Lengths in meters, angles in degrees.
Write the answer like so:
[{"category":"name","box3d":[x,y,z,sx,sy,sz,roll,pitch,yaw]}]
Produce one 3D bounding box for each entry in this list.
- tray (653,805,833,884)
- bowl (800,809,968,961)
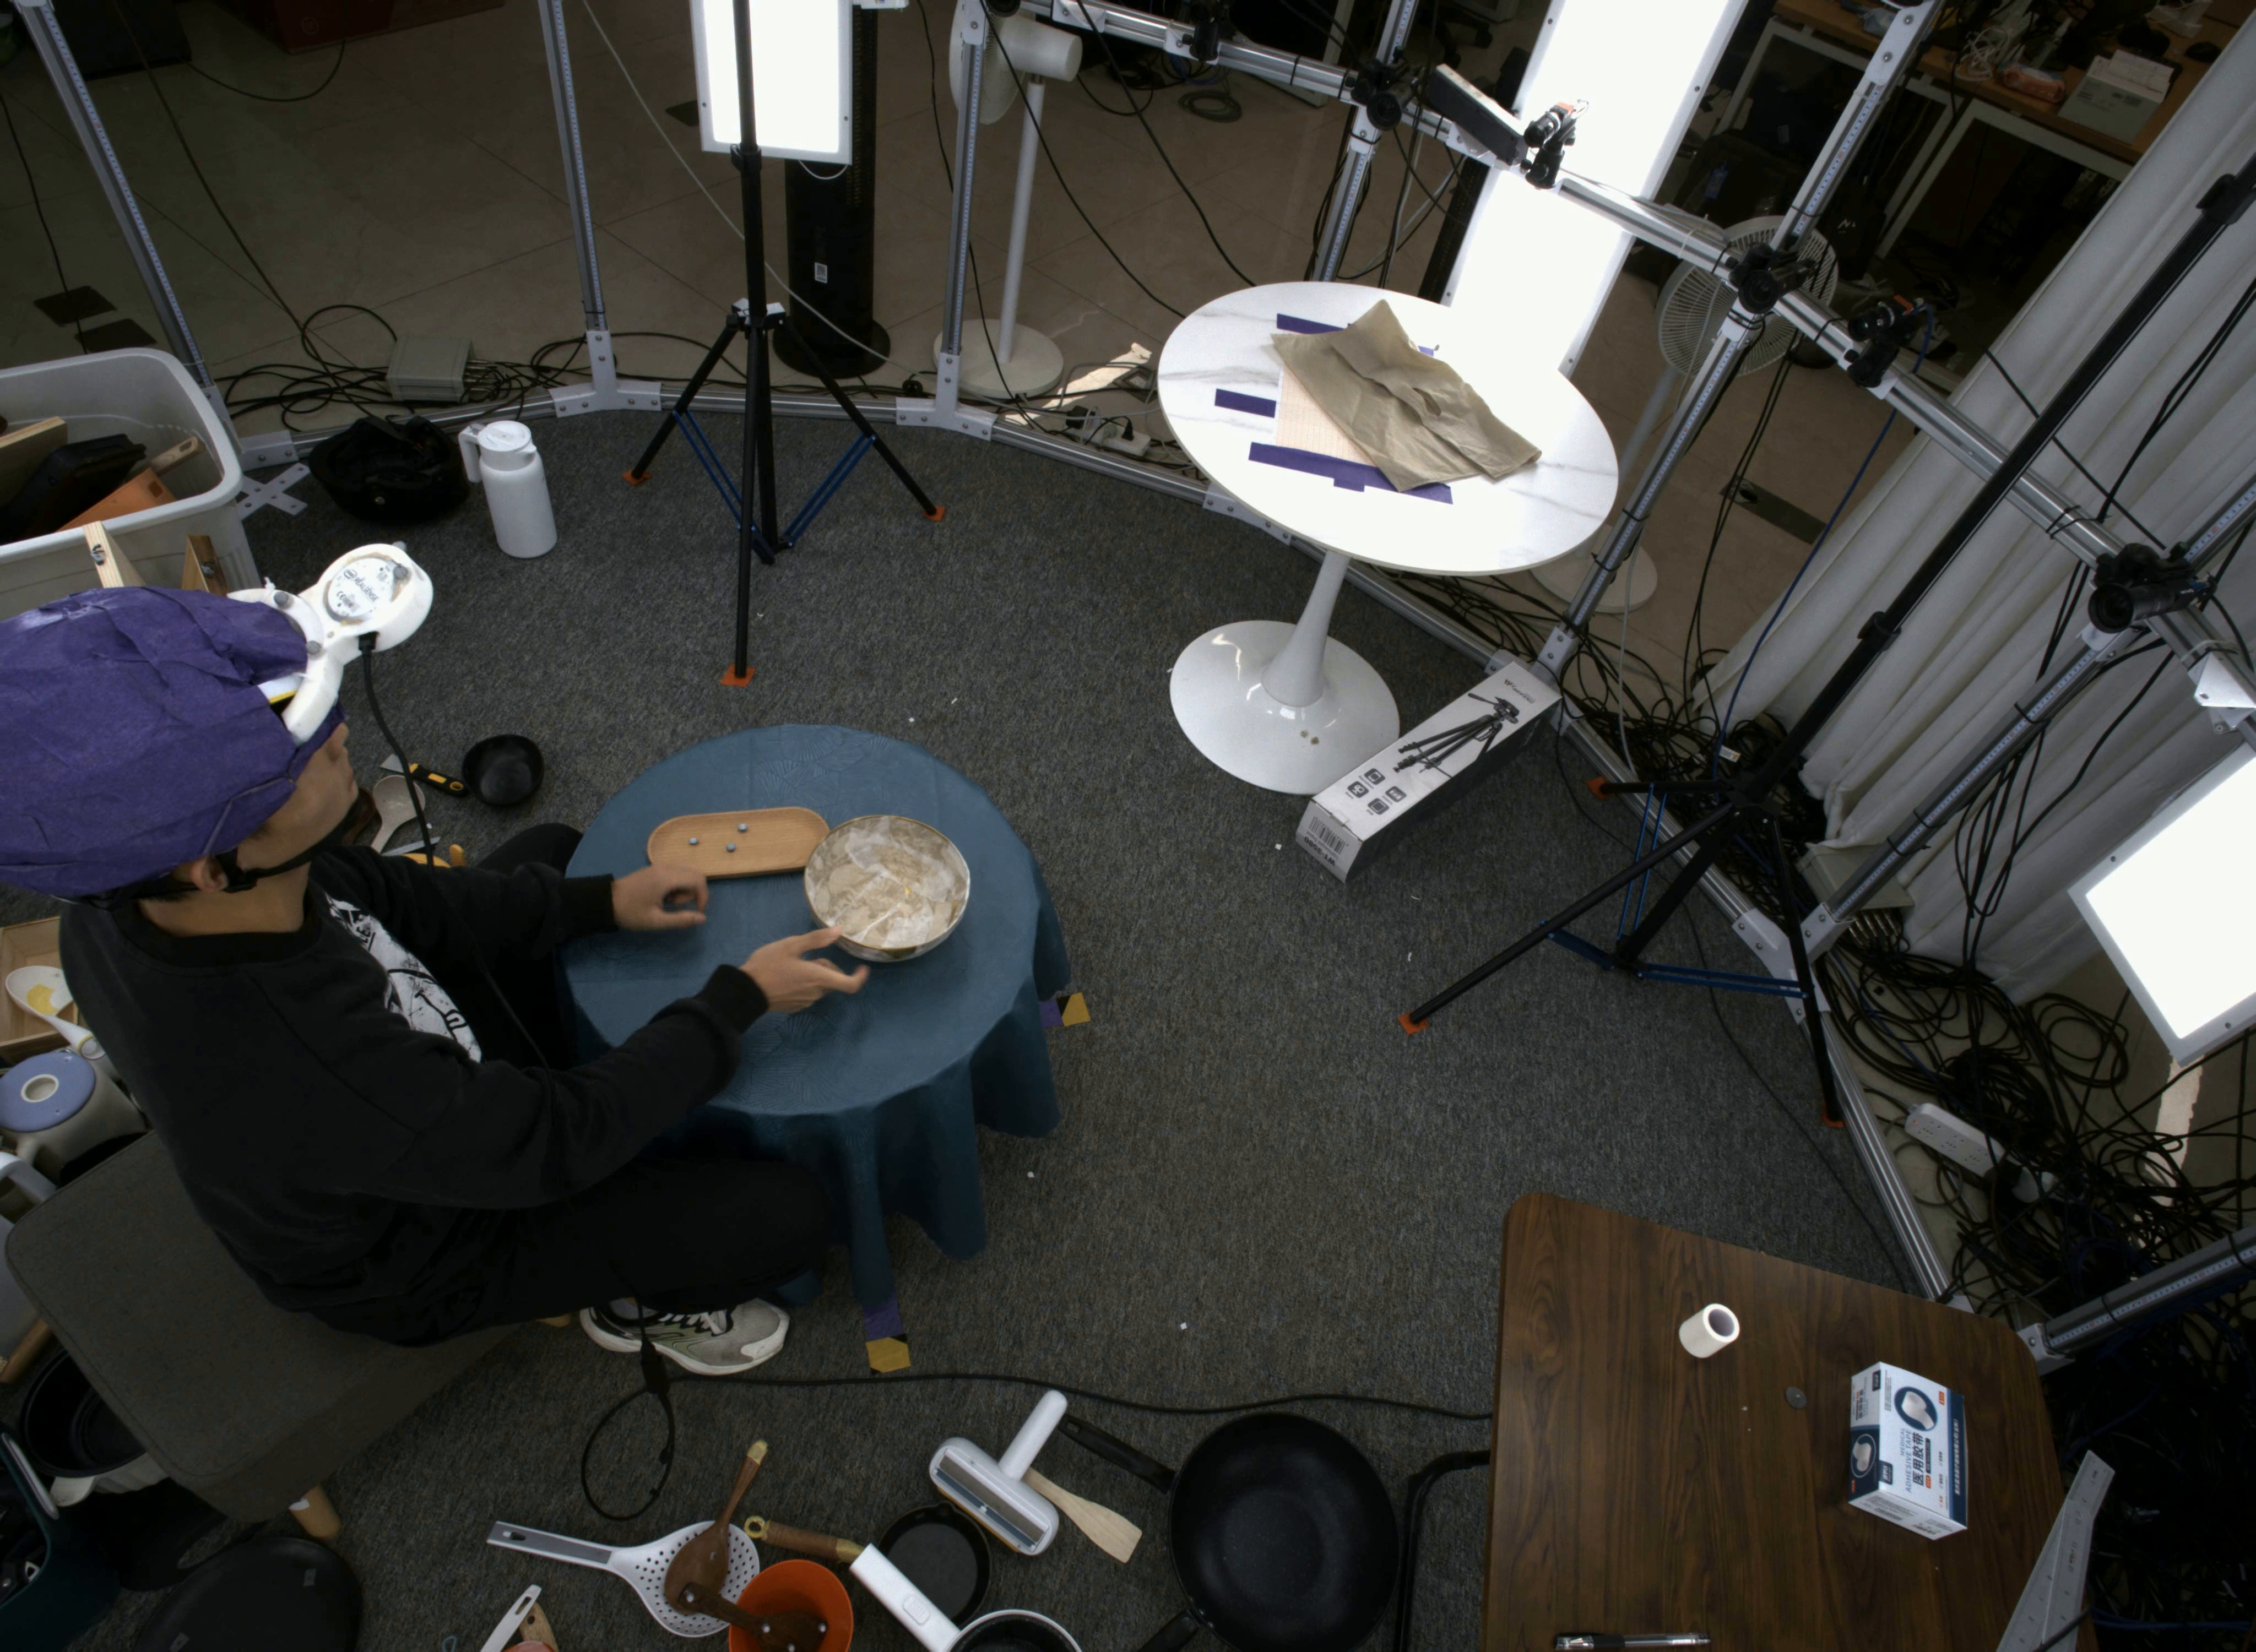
[{"category":"tray","box3d":[-0.500,0.022,1.683,0.232,0.020,0.099,-5,58,-20]},{"category":"bowl","box3d":[-0.308,0.086,1.633,0.215,0.096,0.211,9,54,-10]}]
